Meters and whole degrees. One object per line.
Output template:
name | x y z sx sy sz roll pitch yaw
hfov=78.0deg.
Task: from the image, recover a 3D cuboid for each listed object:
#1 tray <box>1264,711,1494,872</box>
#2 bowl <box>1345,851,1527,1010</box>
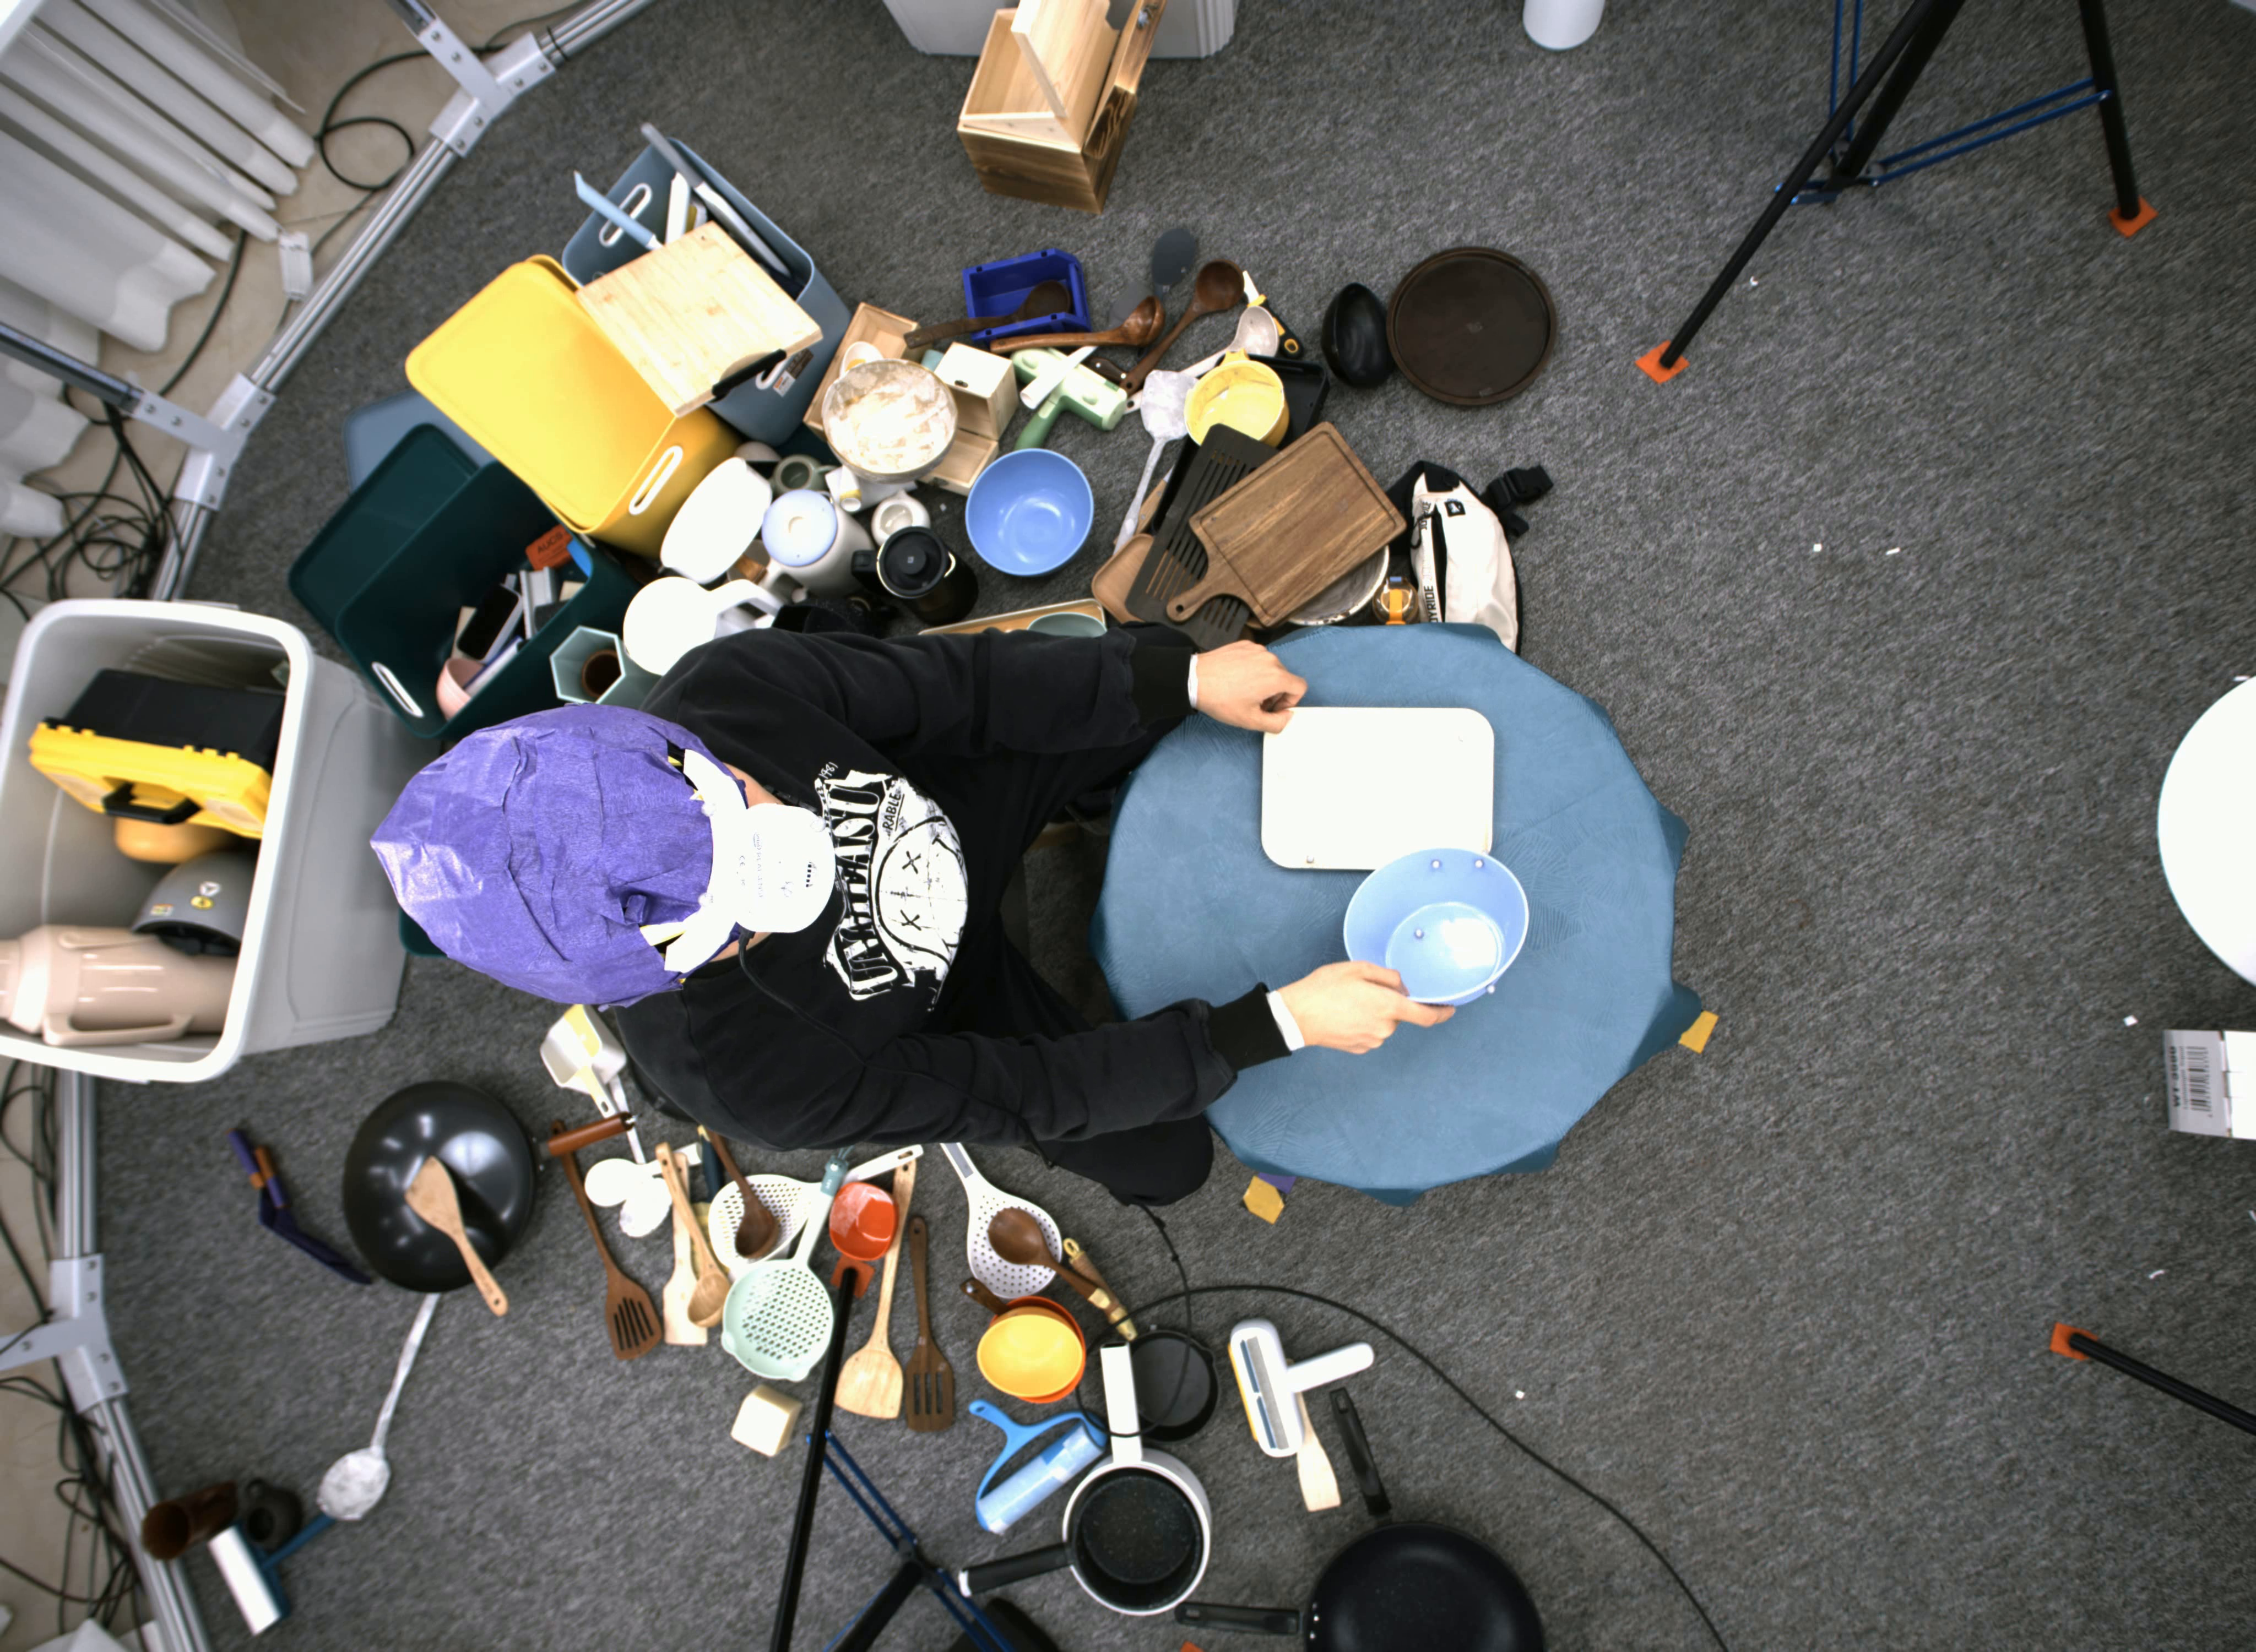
tray | 0.264 -0.038 1.456 0.240 0.017 0.171 1 91 9
bowl | 0.305 0.112 1.350 0.177 0.071 0.171 -13 51 15
